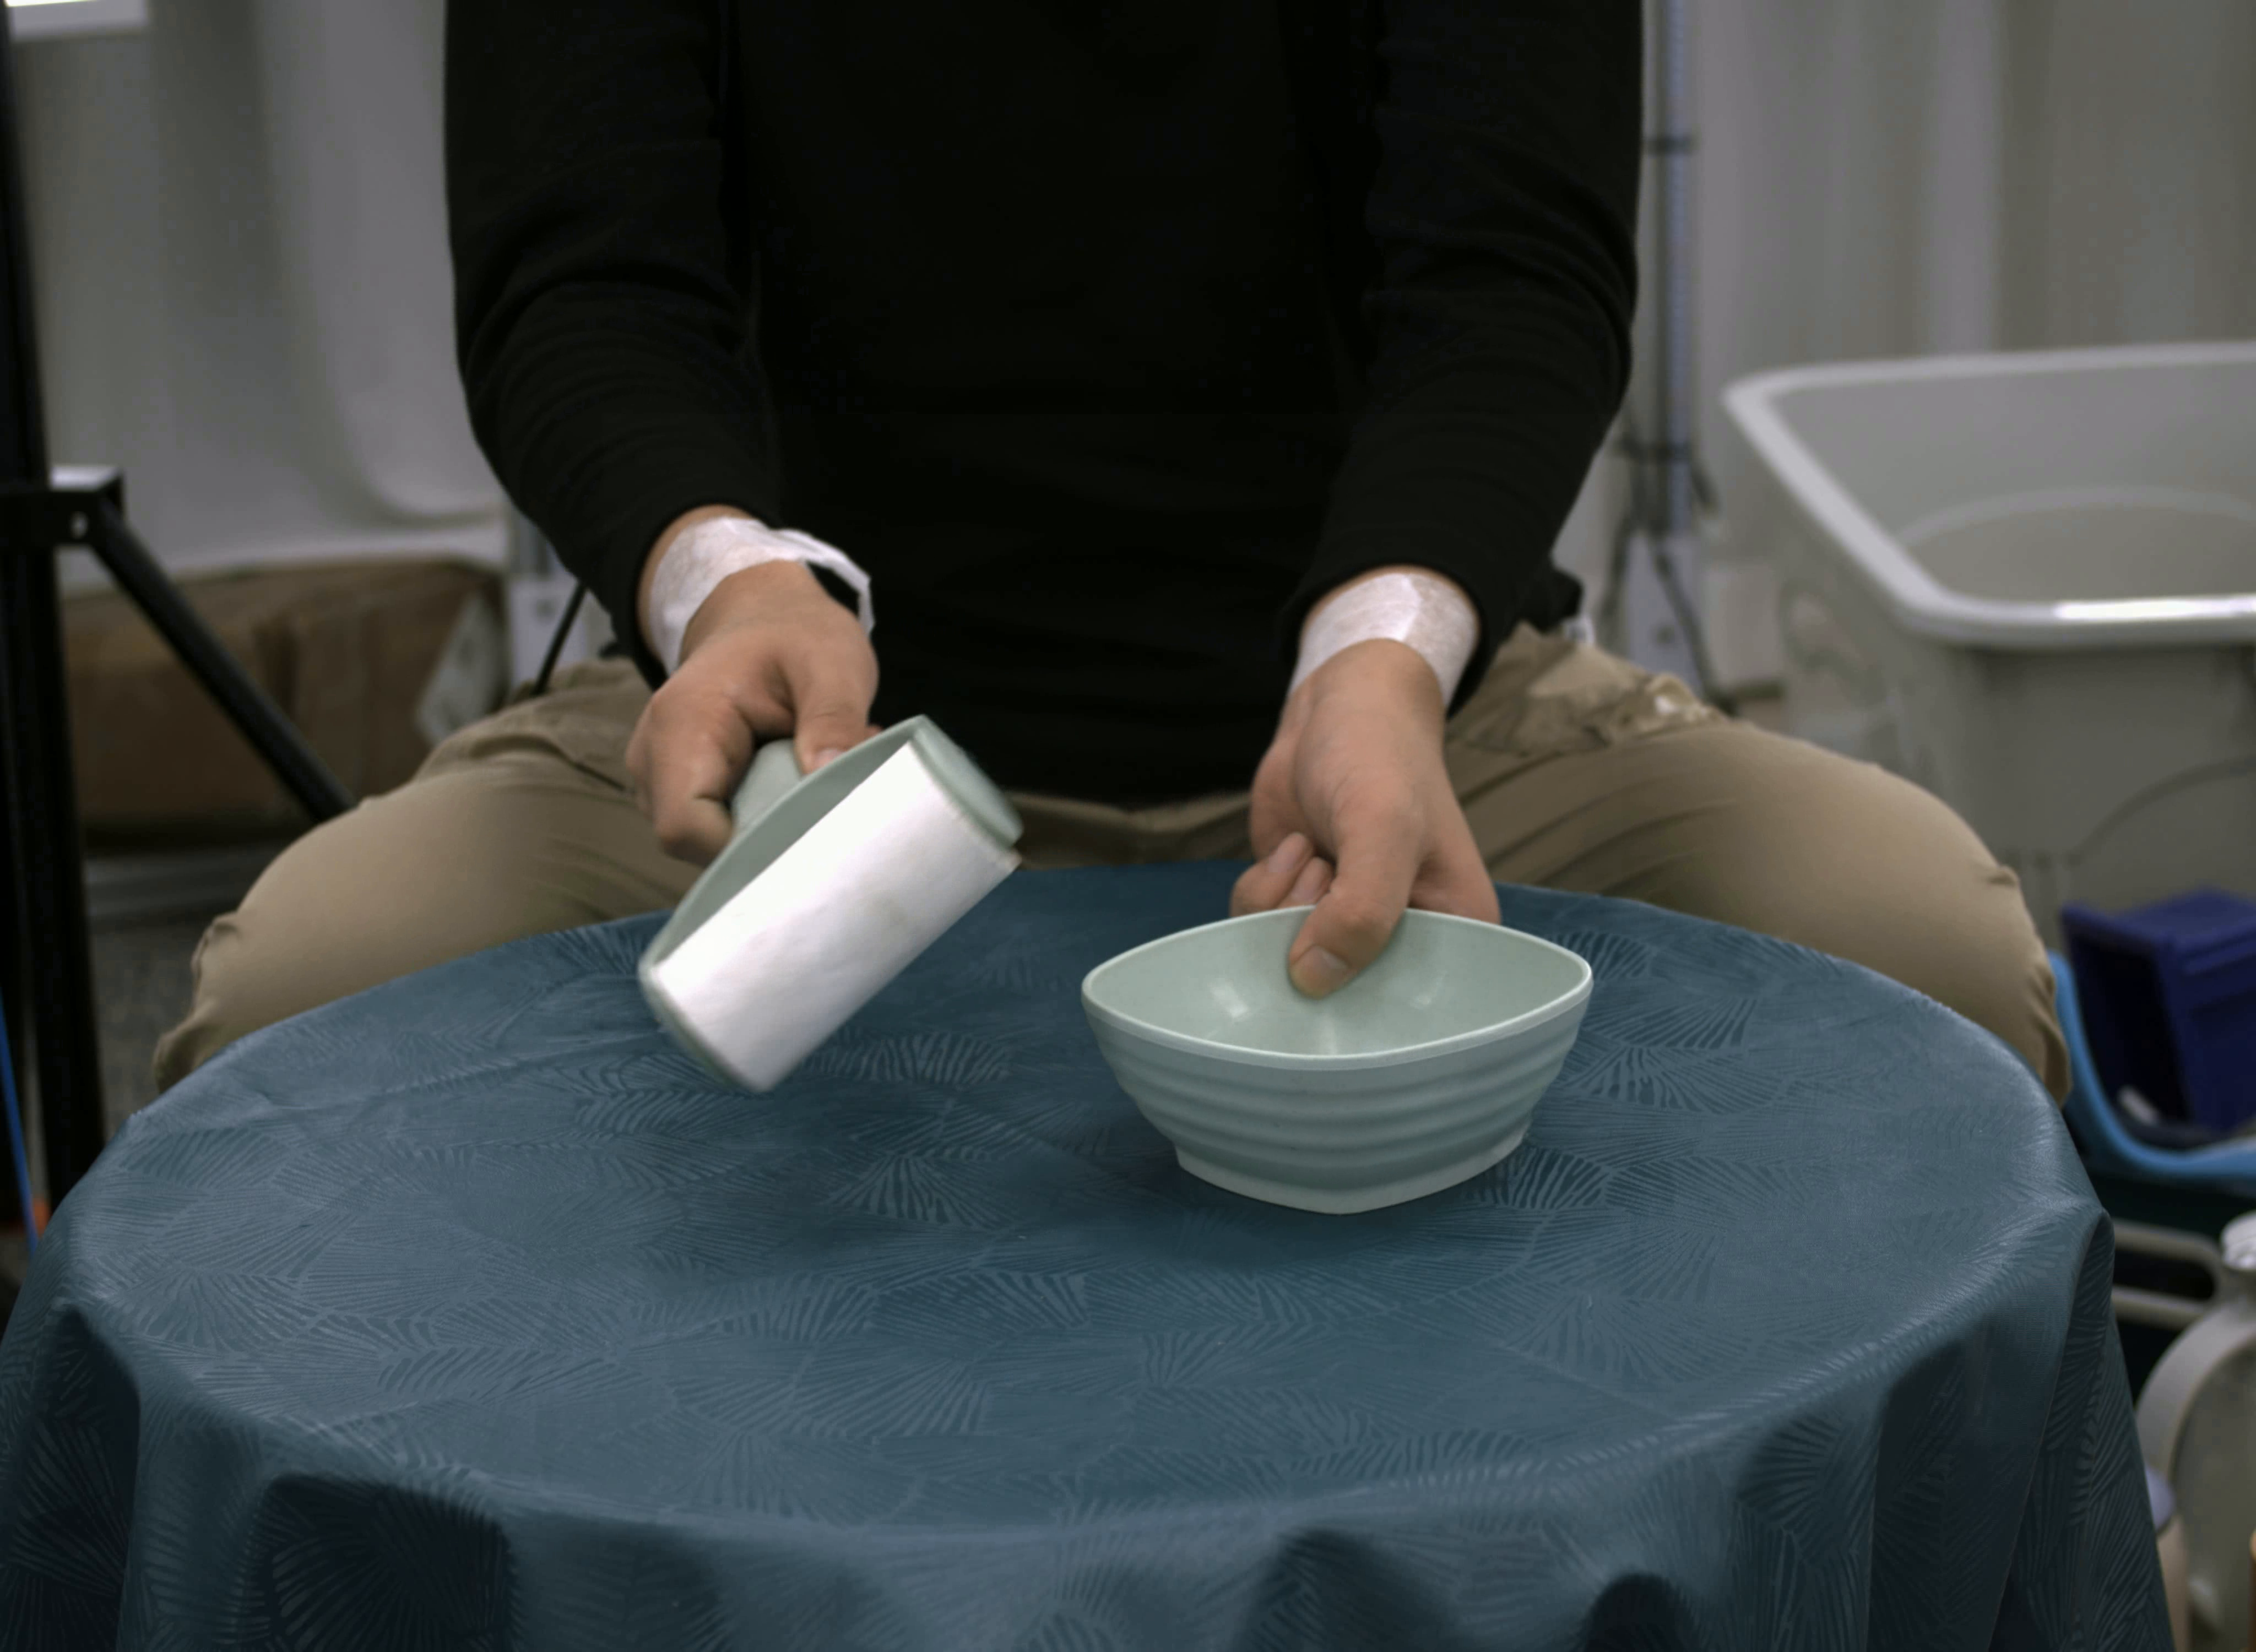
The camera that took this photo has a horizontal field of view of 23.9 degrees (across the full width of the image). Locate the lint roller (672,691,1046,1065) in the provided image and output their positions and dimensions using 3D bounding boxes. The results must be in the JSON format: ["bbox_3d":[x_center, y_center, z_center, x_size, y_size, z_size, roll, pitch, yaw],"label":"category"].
[{"bbox_3d":[-0.089,-0.003,1.604,0.117,0.048,0.200,-44,19,4],"label":"lint roller"}]

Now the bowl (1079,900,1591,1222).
[{"bbox_3d":[0.062,0.073,1.570,0.150,0.058,0.152,-2,17,-1],"label":"bowl"}]
